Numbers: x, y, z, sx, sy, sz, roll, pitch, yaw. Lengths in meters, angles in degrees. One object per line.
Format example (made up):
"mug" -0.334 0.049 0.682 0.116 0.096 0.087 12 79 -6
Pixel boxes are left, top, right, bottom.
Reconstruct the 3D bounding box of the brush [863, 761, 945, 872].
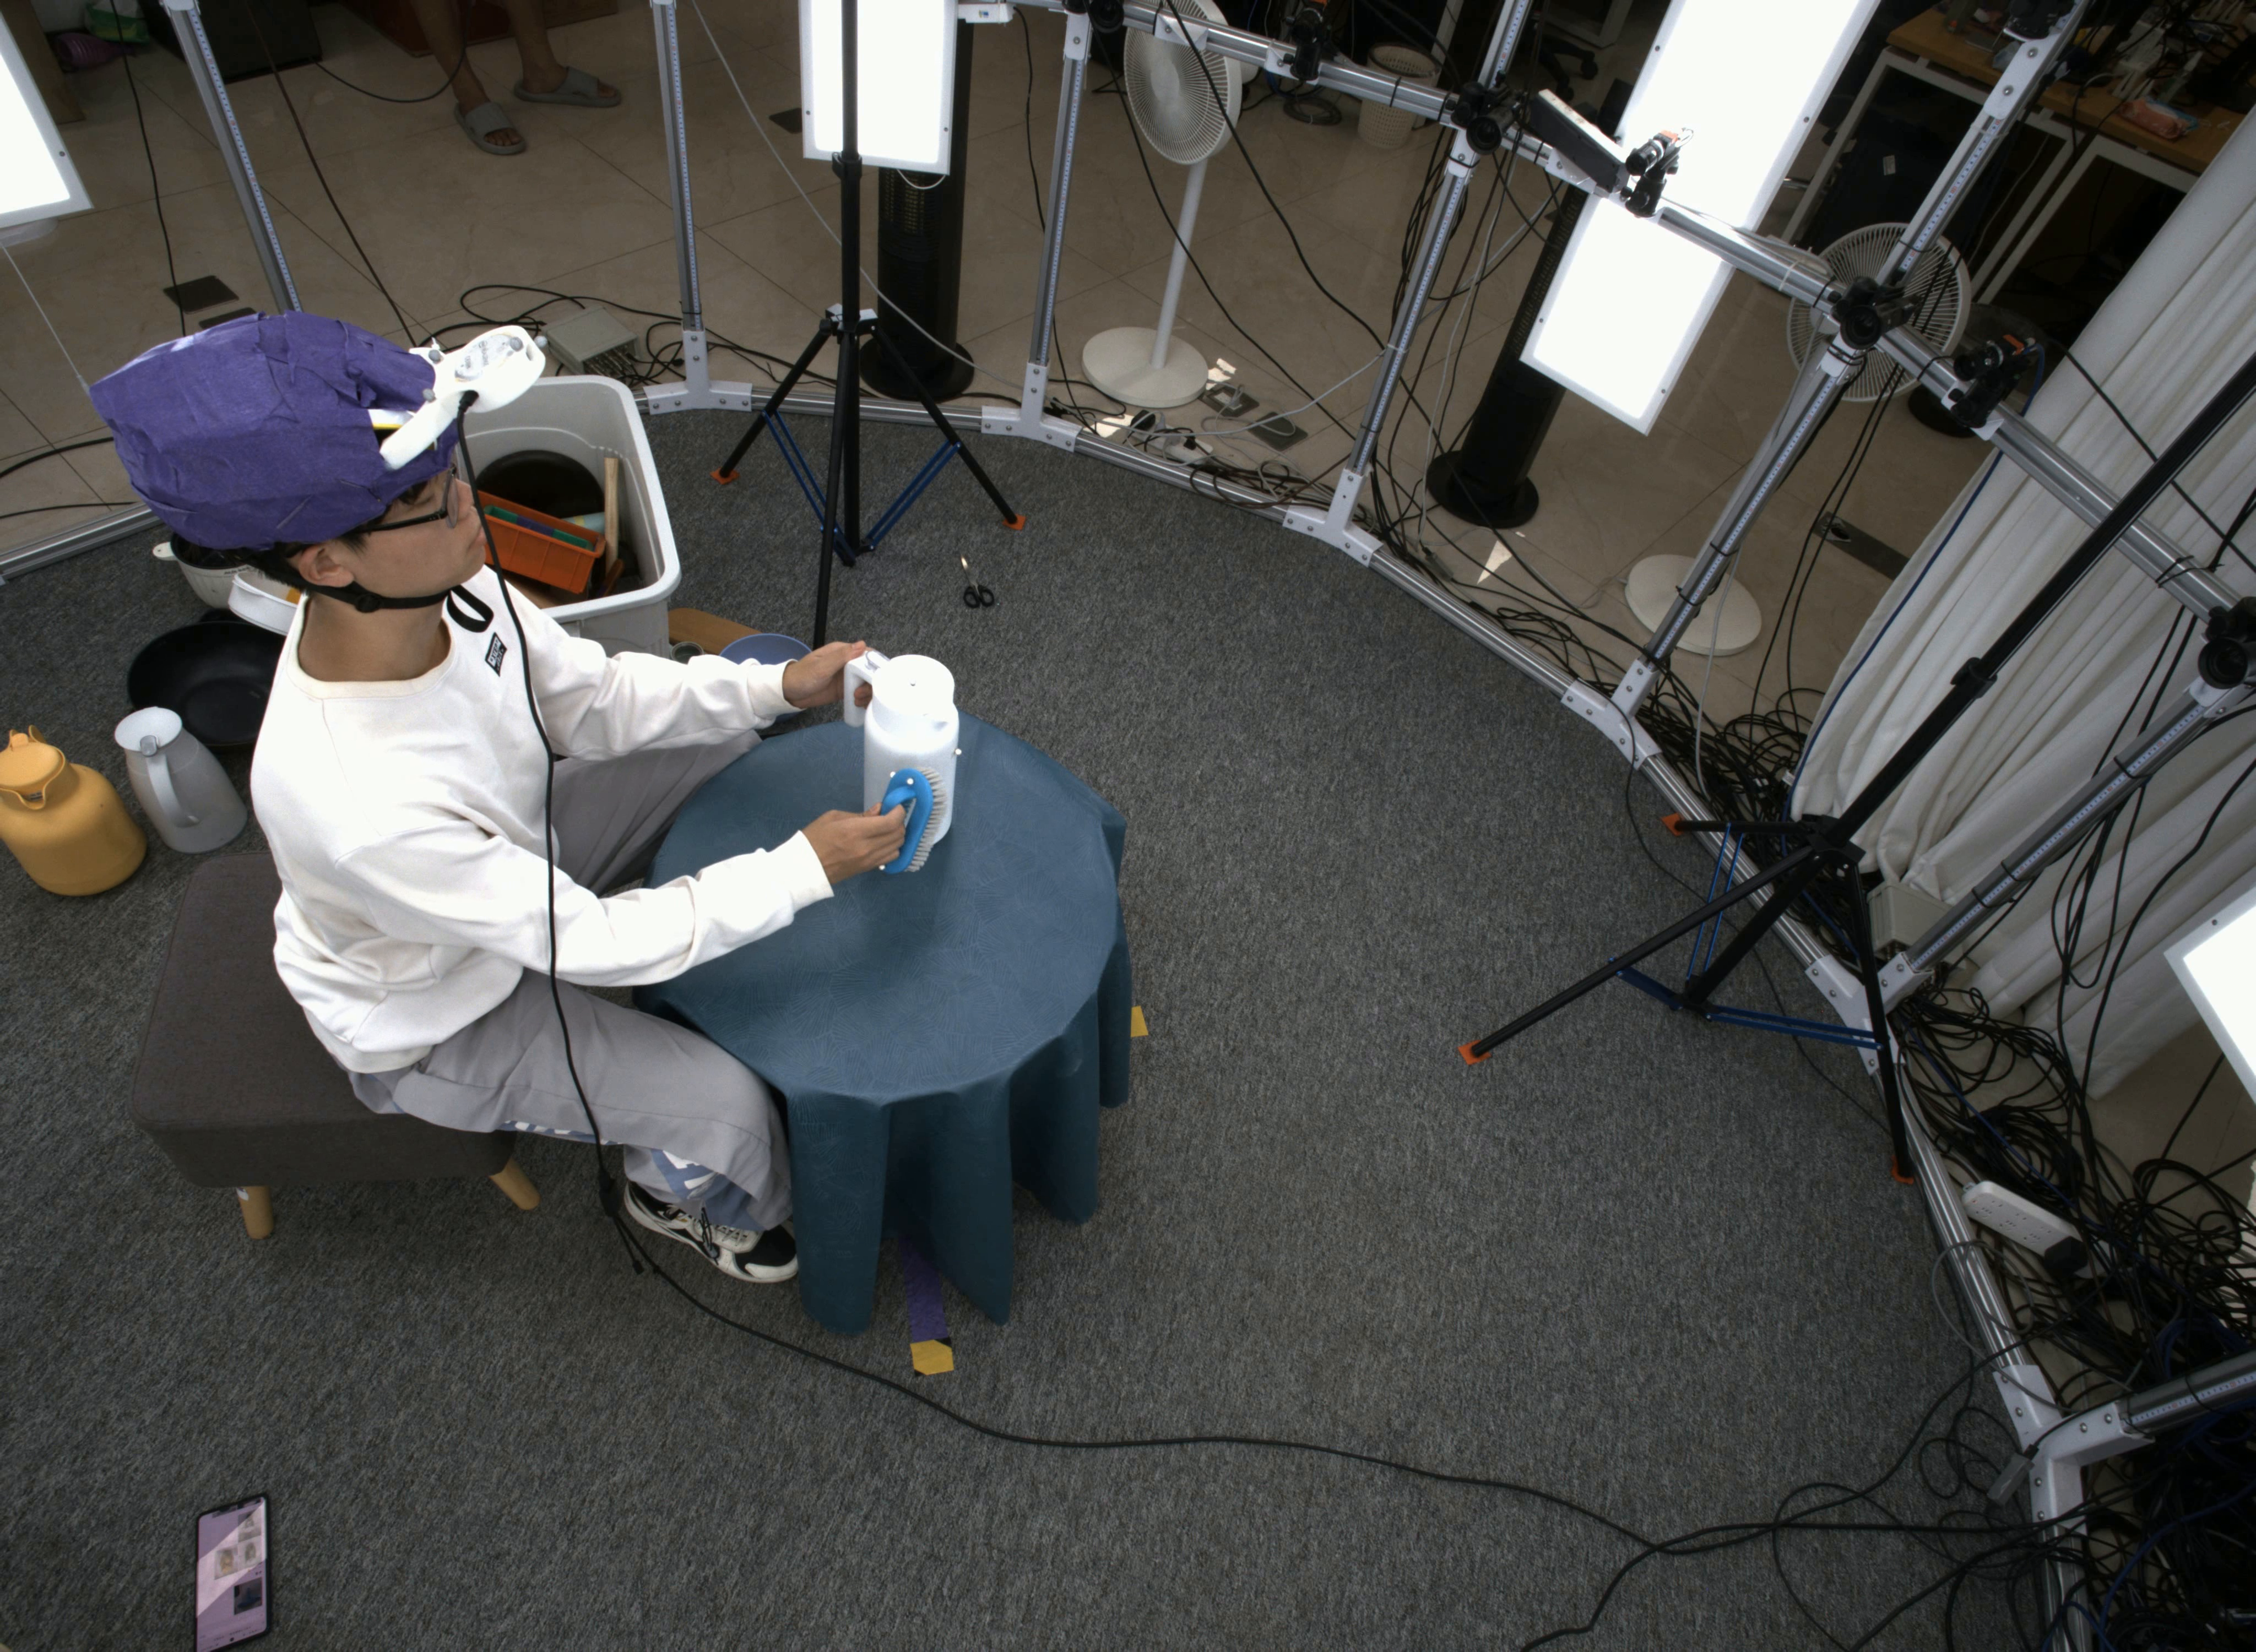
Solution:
"brush" -0.280 -0.008 1.564 0.082 0.144 0.064 37 26 22

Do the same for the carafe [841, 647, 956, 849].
"carafe" -0.296 -0.102 1.669 0.169 0.275 0.124 33 56 15
